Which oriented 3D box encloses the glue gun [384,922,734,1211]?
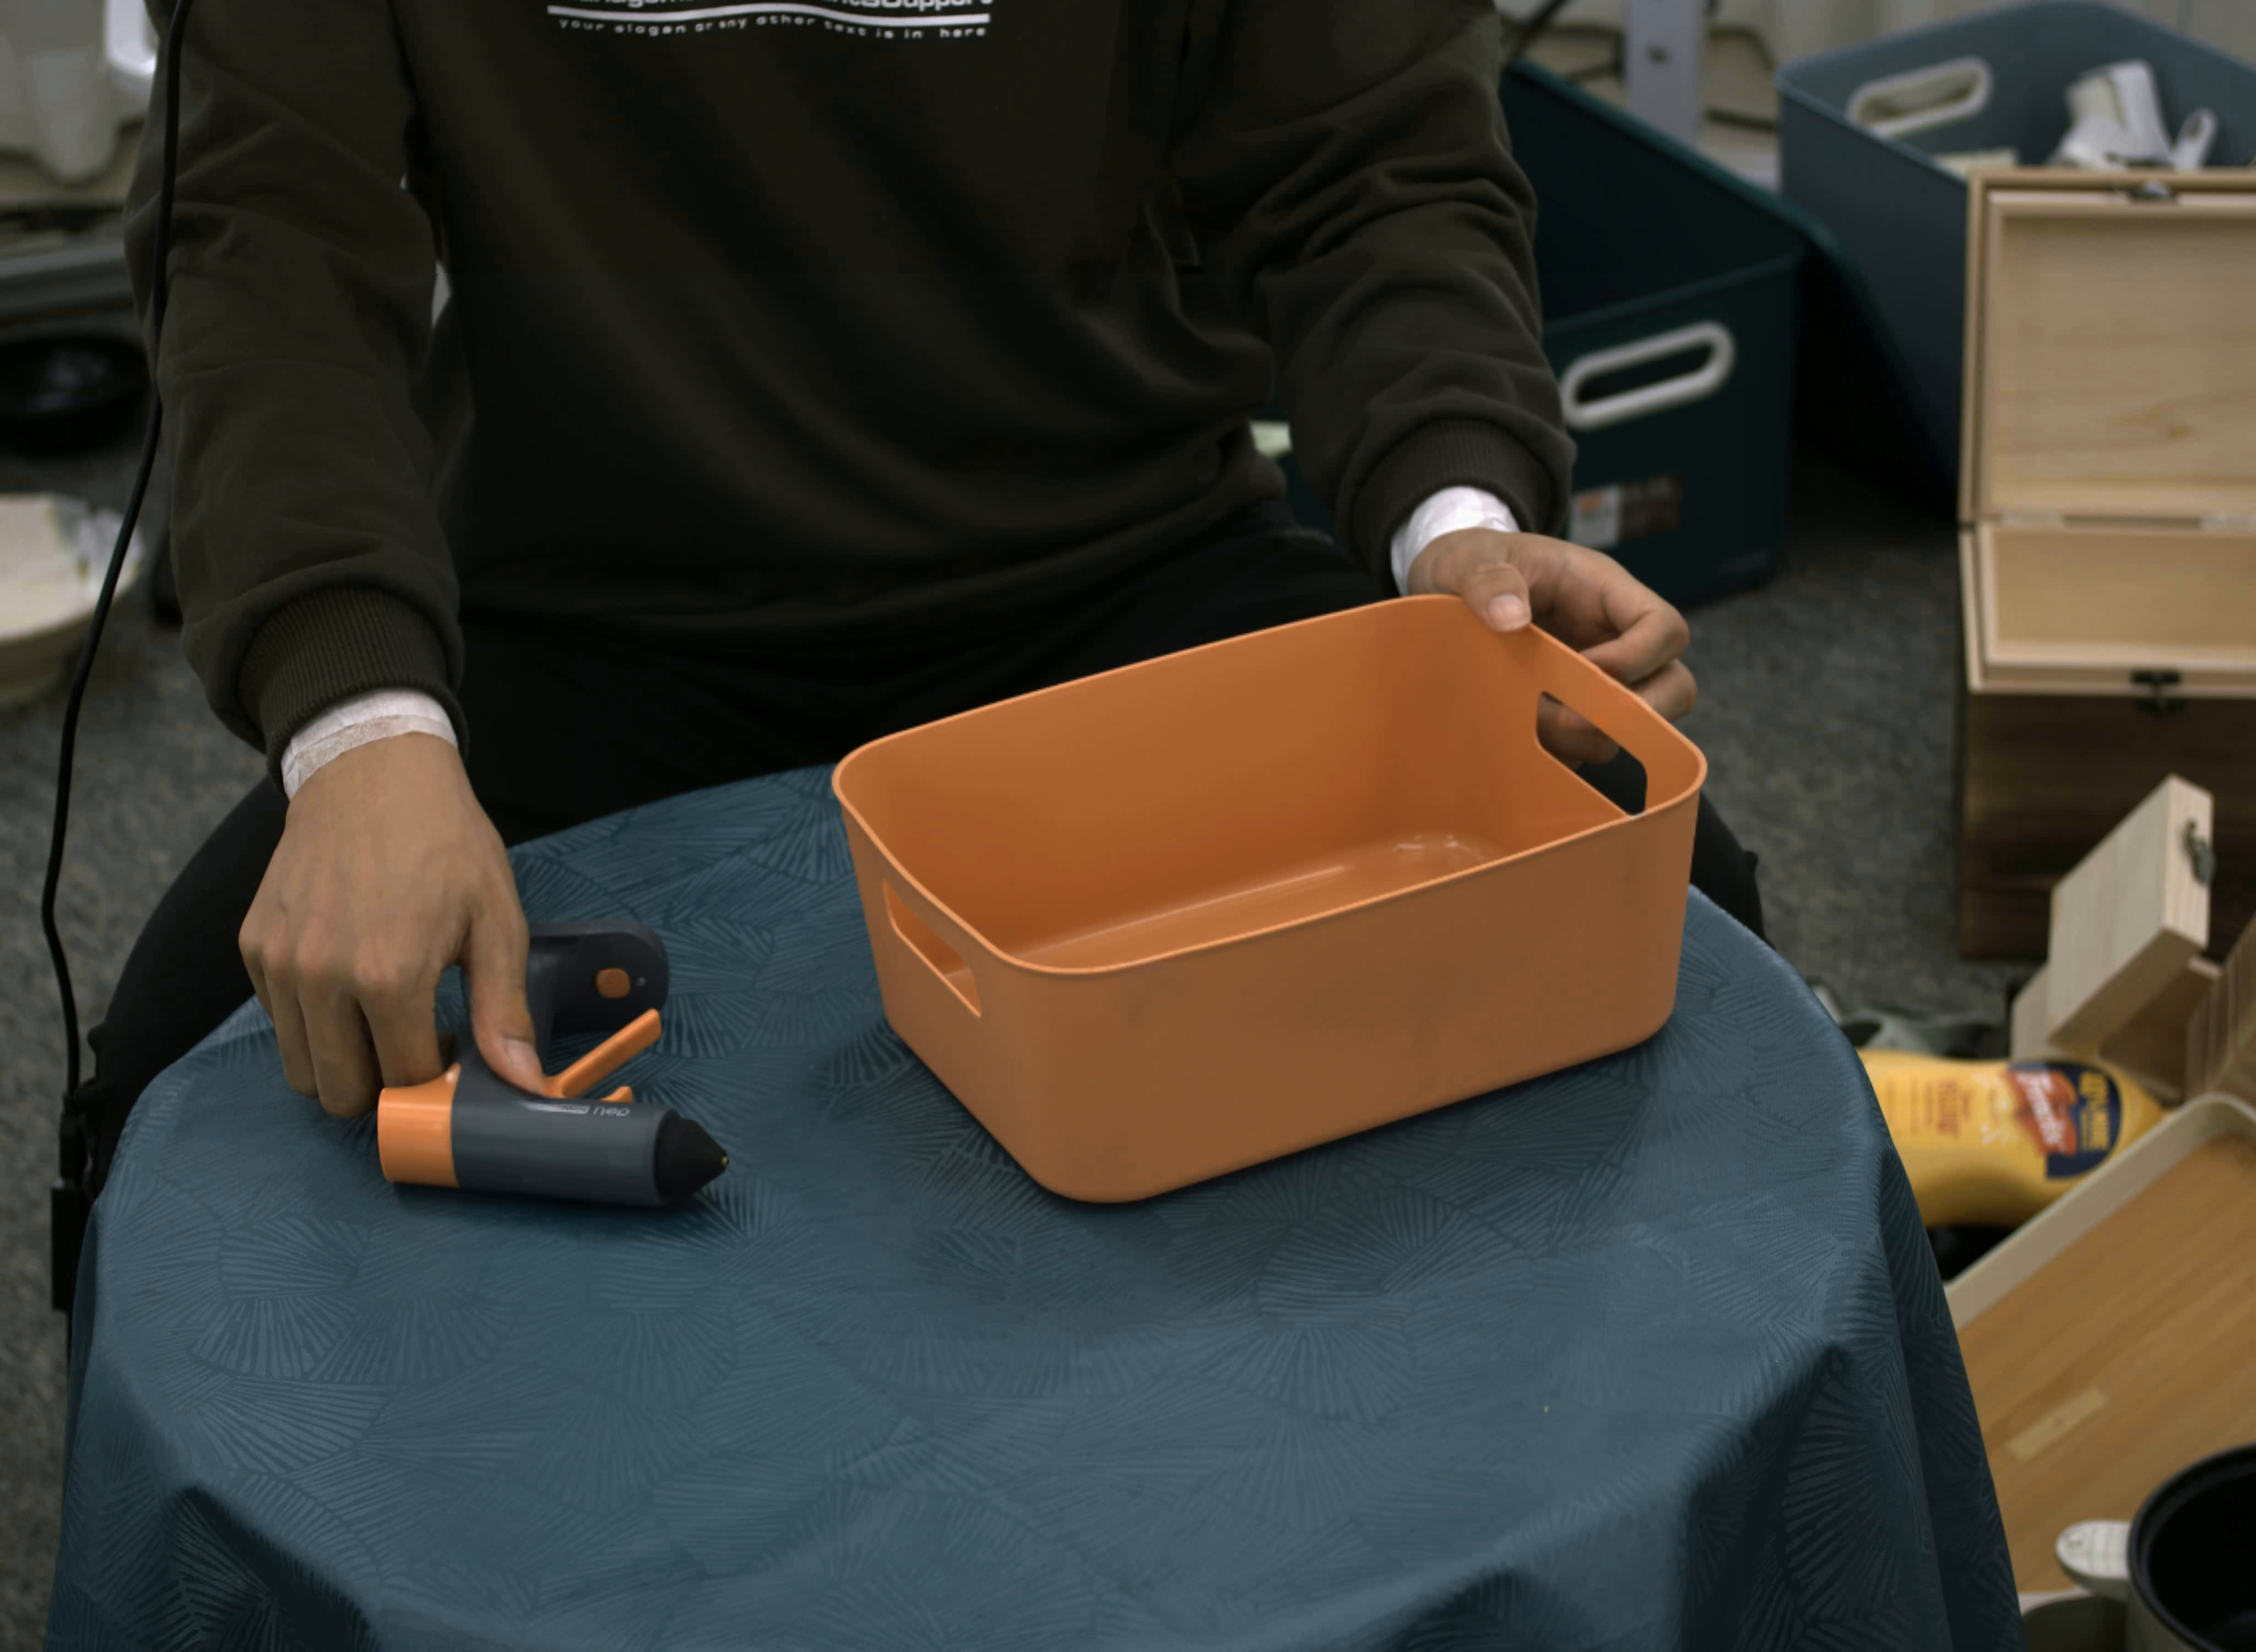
[{"bbox_3d":[-0.191,0.087,1.917,0.117,0.040,0.142,-4,30,1],"label":"glue gun"}]

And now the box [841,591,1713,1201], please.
[{"bbox_3d":[0.051,0.023,1.939,0.274,0.101,0.200,-16,30,-23],"label":"box"}]
